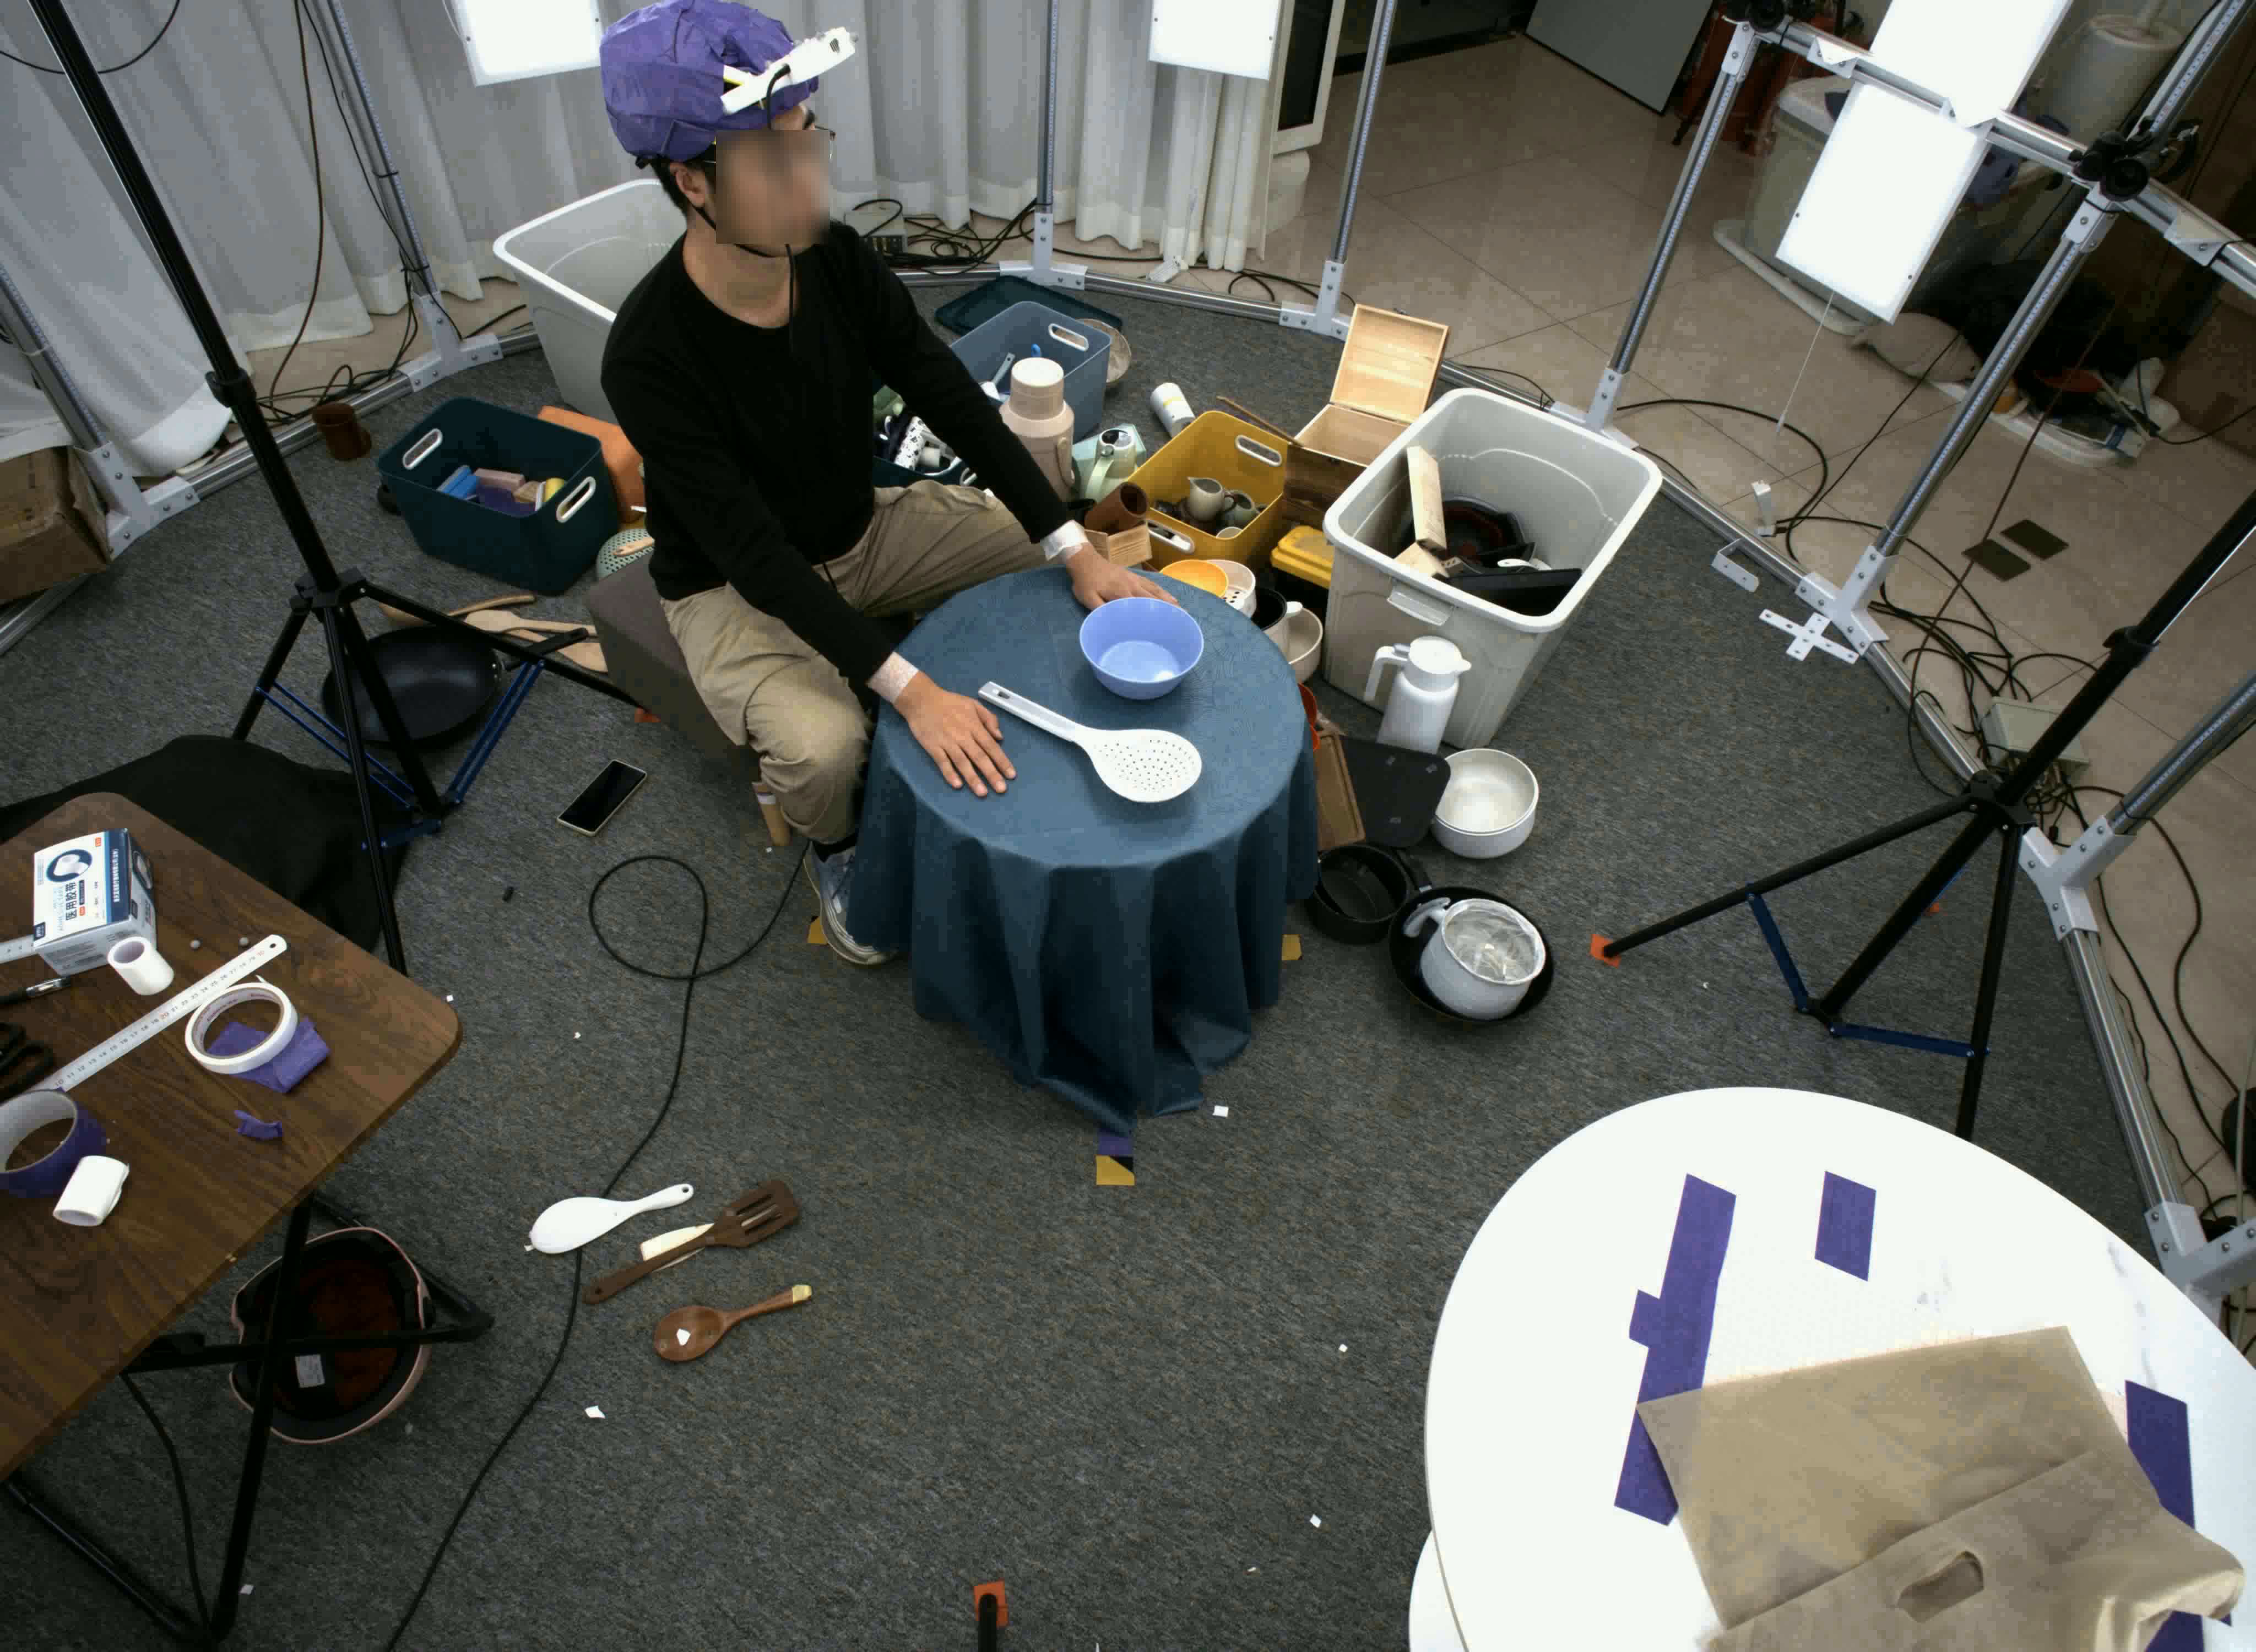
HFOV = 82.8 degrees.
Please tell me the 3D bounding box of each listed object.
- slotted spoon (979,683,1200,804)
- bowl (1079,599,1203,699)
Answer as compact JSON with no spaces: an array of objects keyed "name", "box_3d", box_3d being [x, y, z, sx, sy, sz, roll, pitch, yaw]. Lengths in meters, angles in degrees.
[{"name":"slotted spoon","box_3d":[-0.061,-0.120,1.741,0.353,0.044,0.138,29,53,21]},{"name":"bowl","box_3d":[0.017,-0.245,1.839,0.176,0.068,0.180,1,48,-2]}]
